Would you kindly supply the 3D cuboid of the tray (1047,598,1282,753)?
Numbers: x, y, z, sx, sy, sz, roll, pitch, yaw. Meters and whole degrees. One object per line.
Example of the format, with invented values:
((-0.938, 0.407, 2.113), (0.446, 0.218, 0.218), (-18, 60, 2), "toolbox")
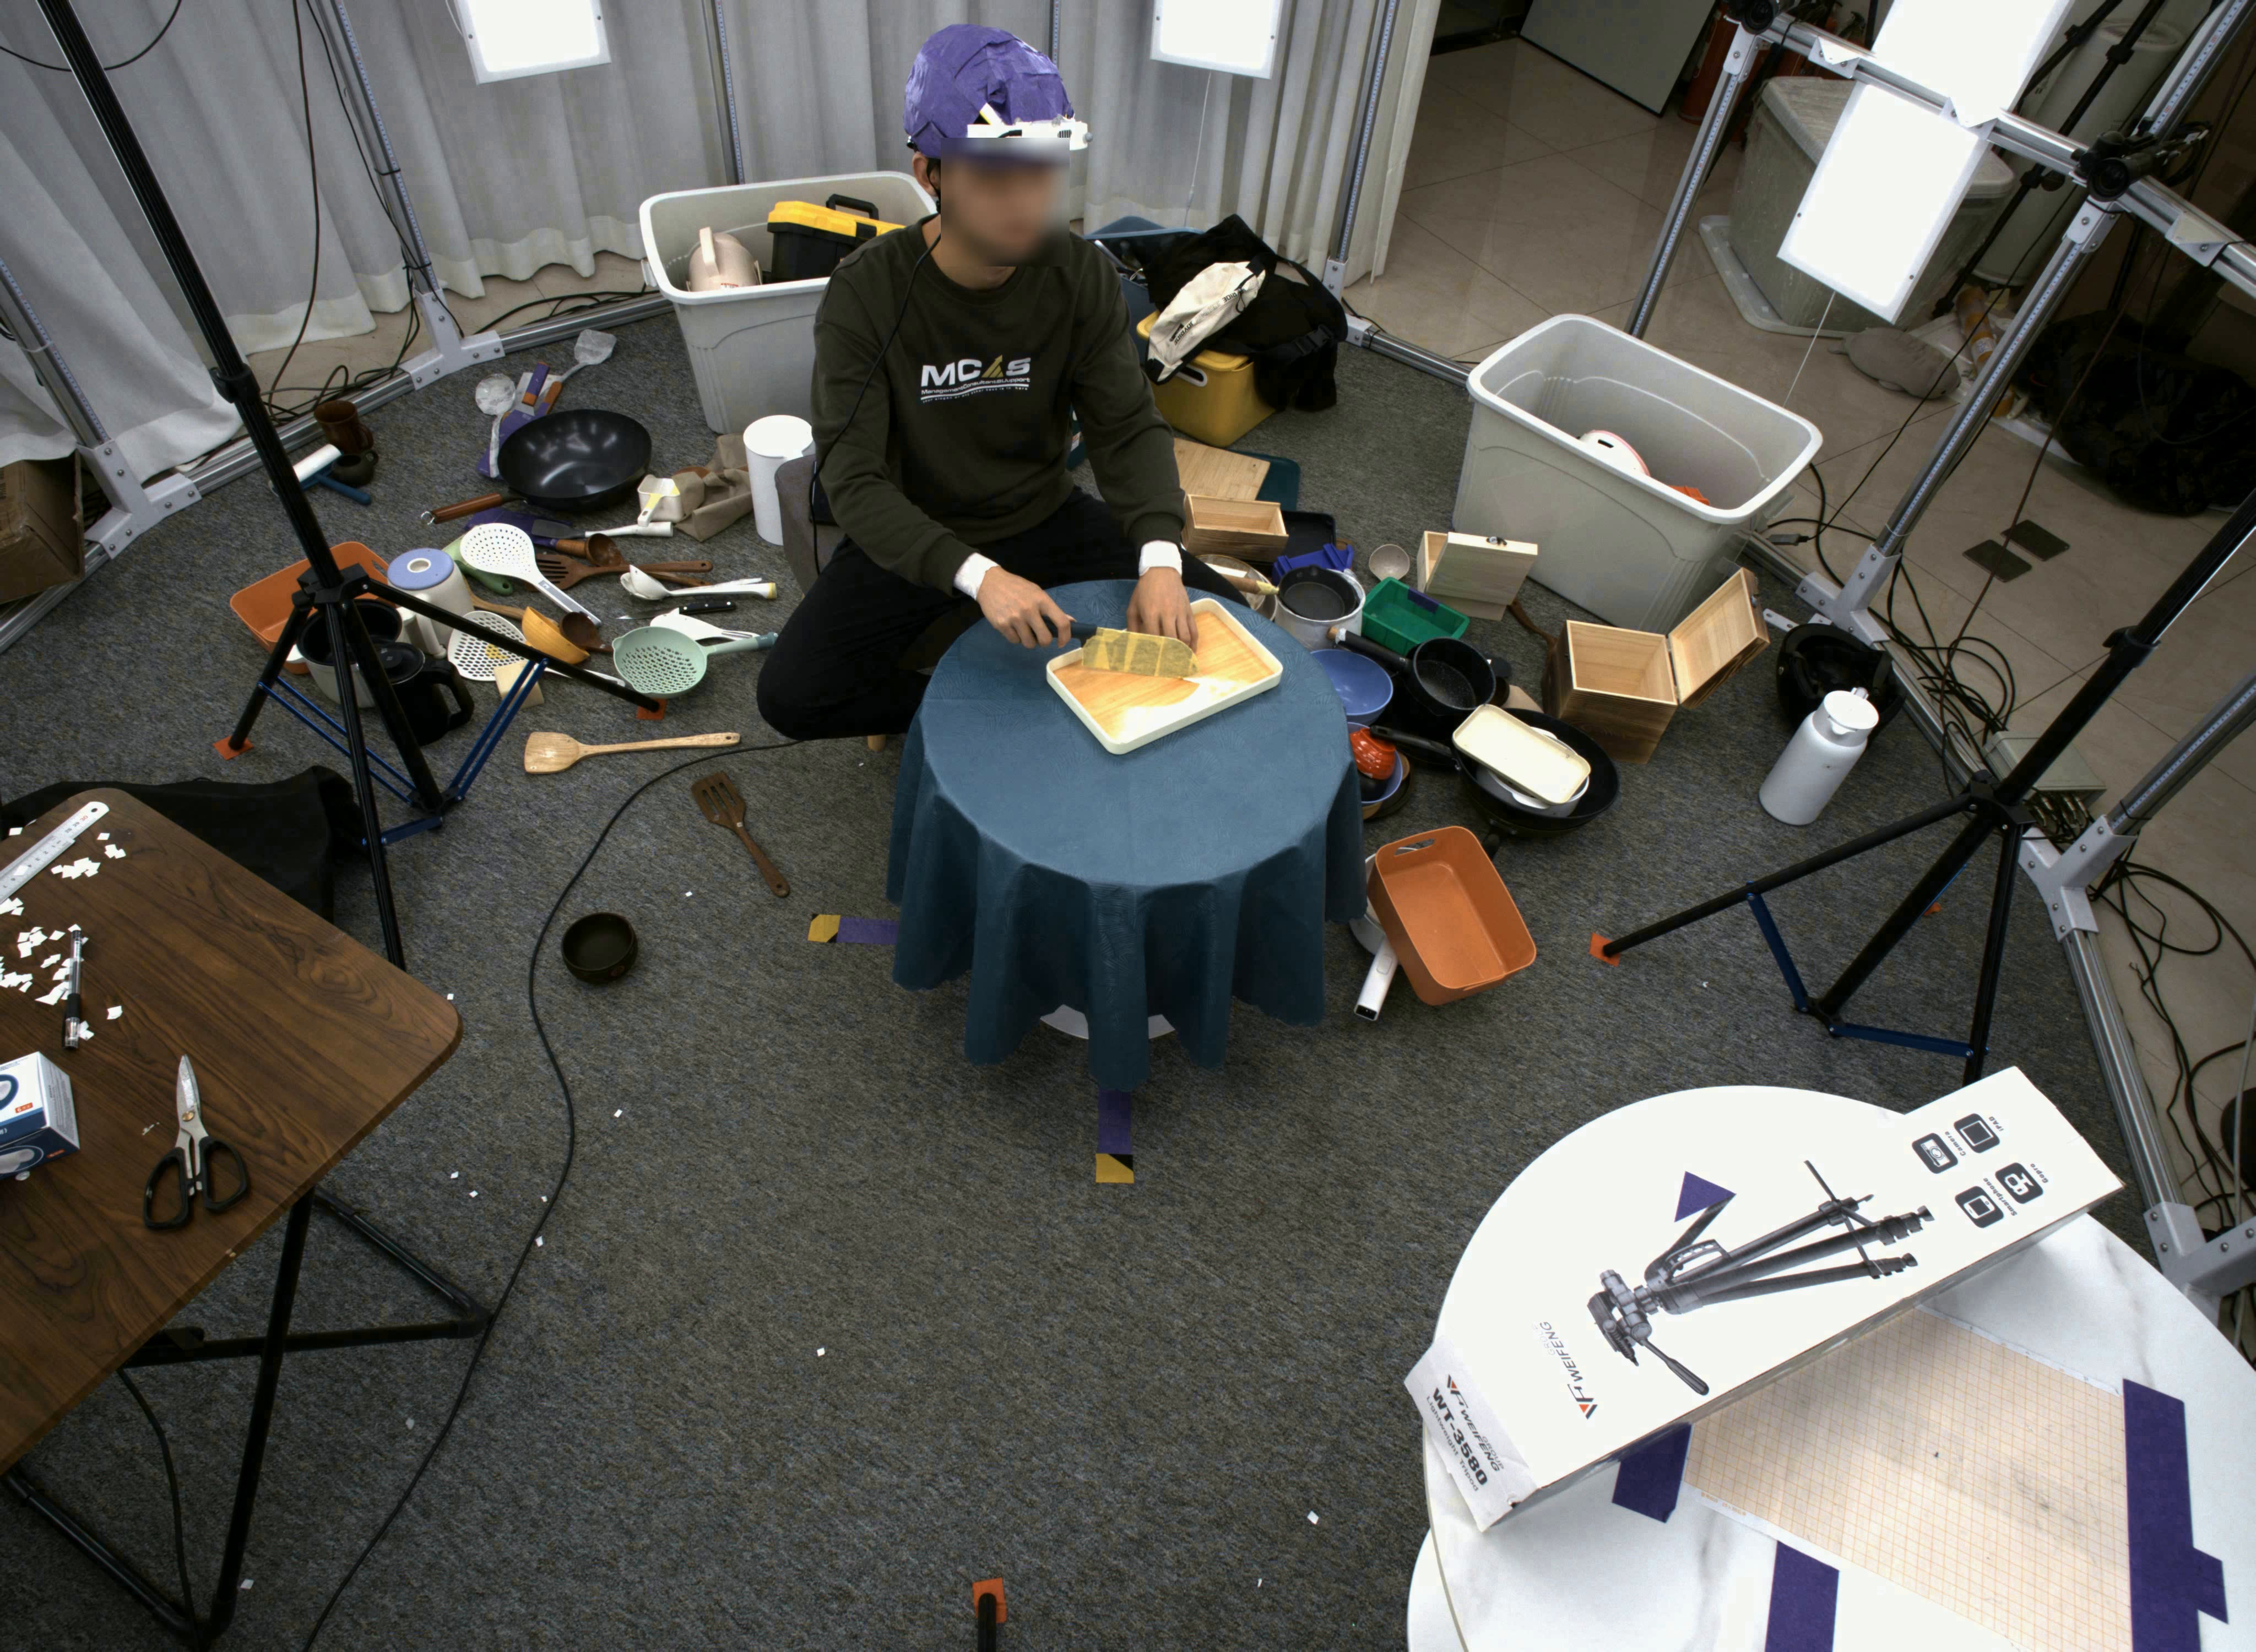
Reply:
((0.053, -0.222, 1.846), (0.301, 0.027, 0.195), (-25, 54, -23), "tray")

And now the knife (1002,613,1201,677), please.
((-0.037, -0.256, 1.822), (0.289, 0.079, 0.028), (11, 41, -3), "knife")
